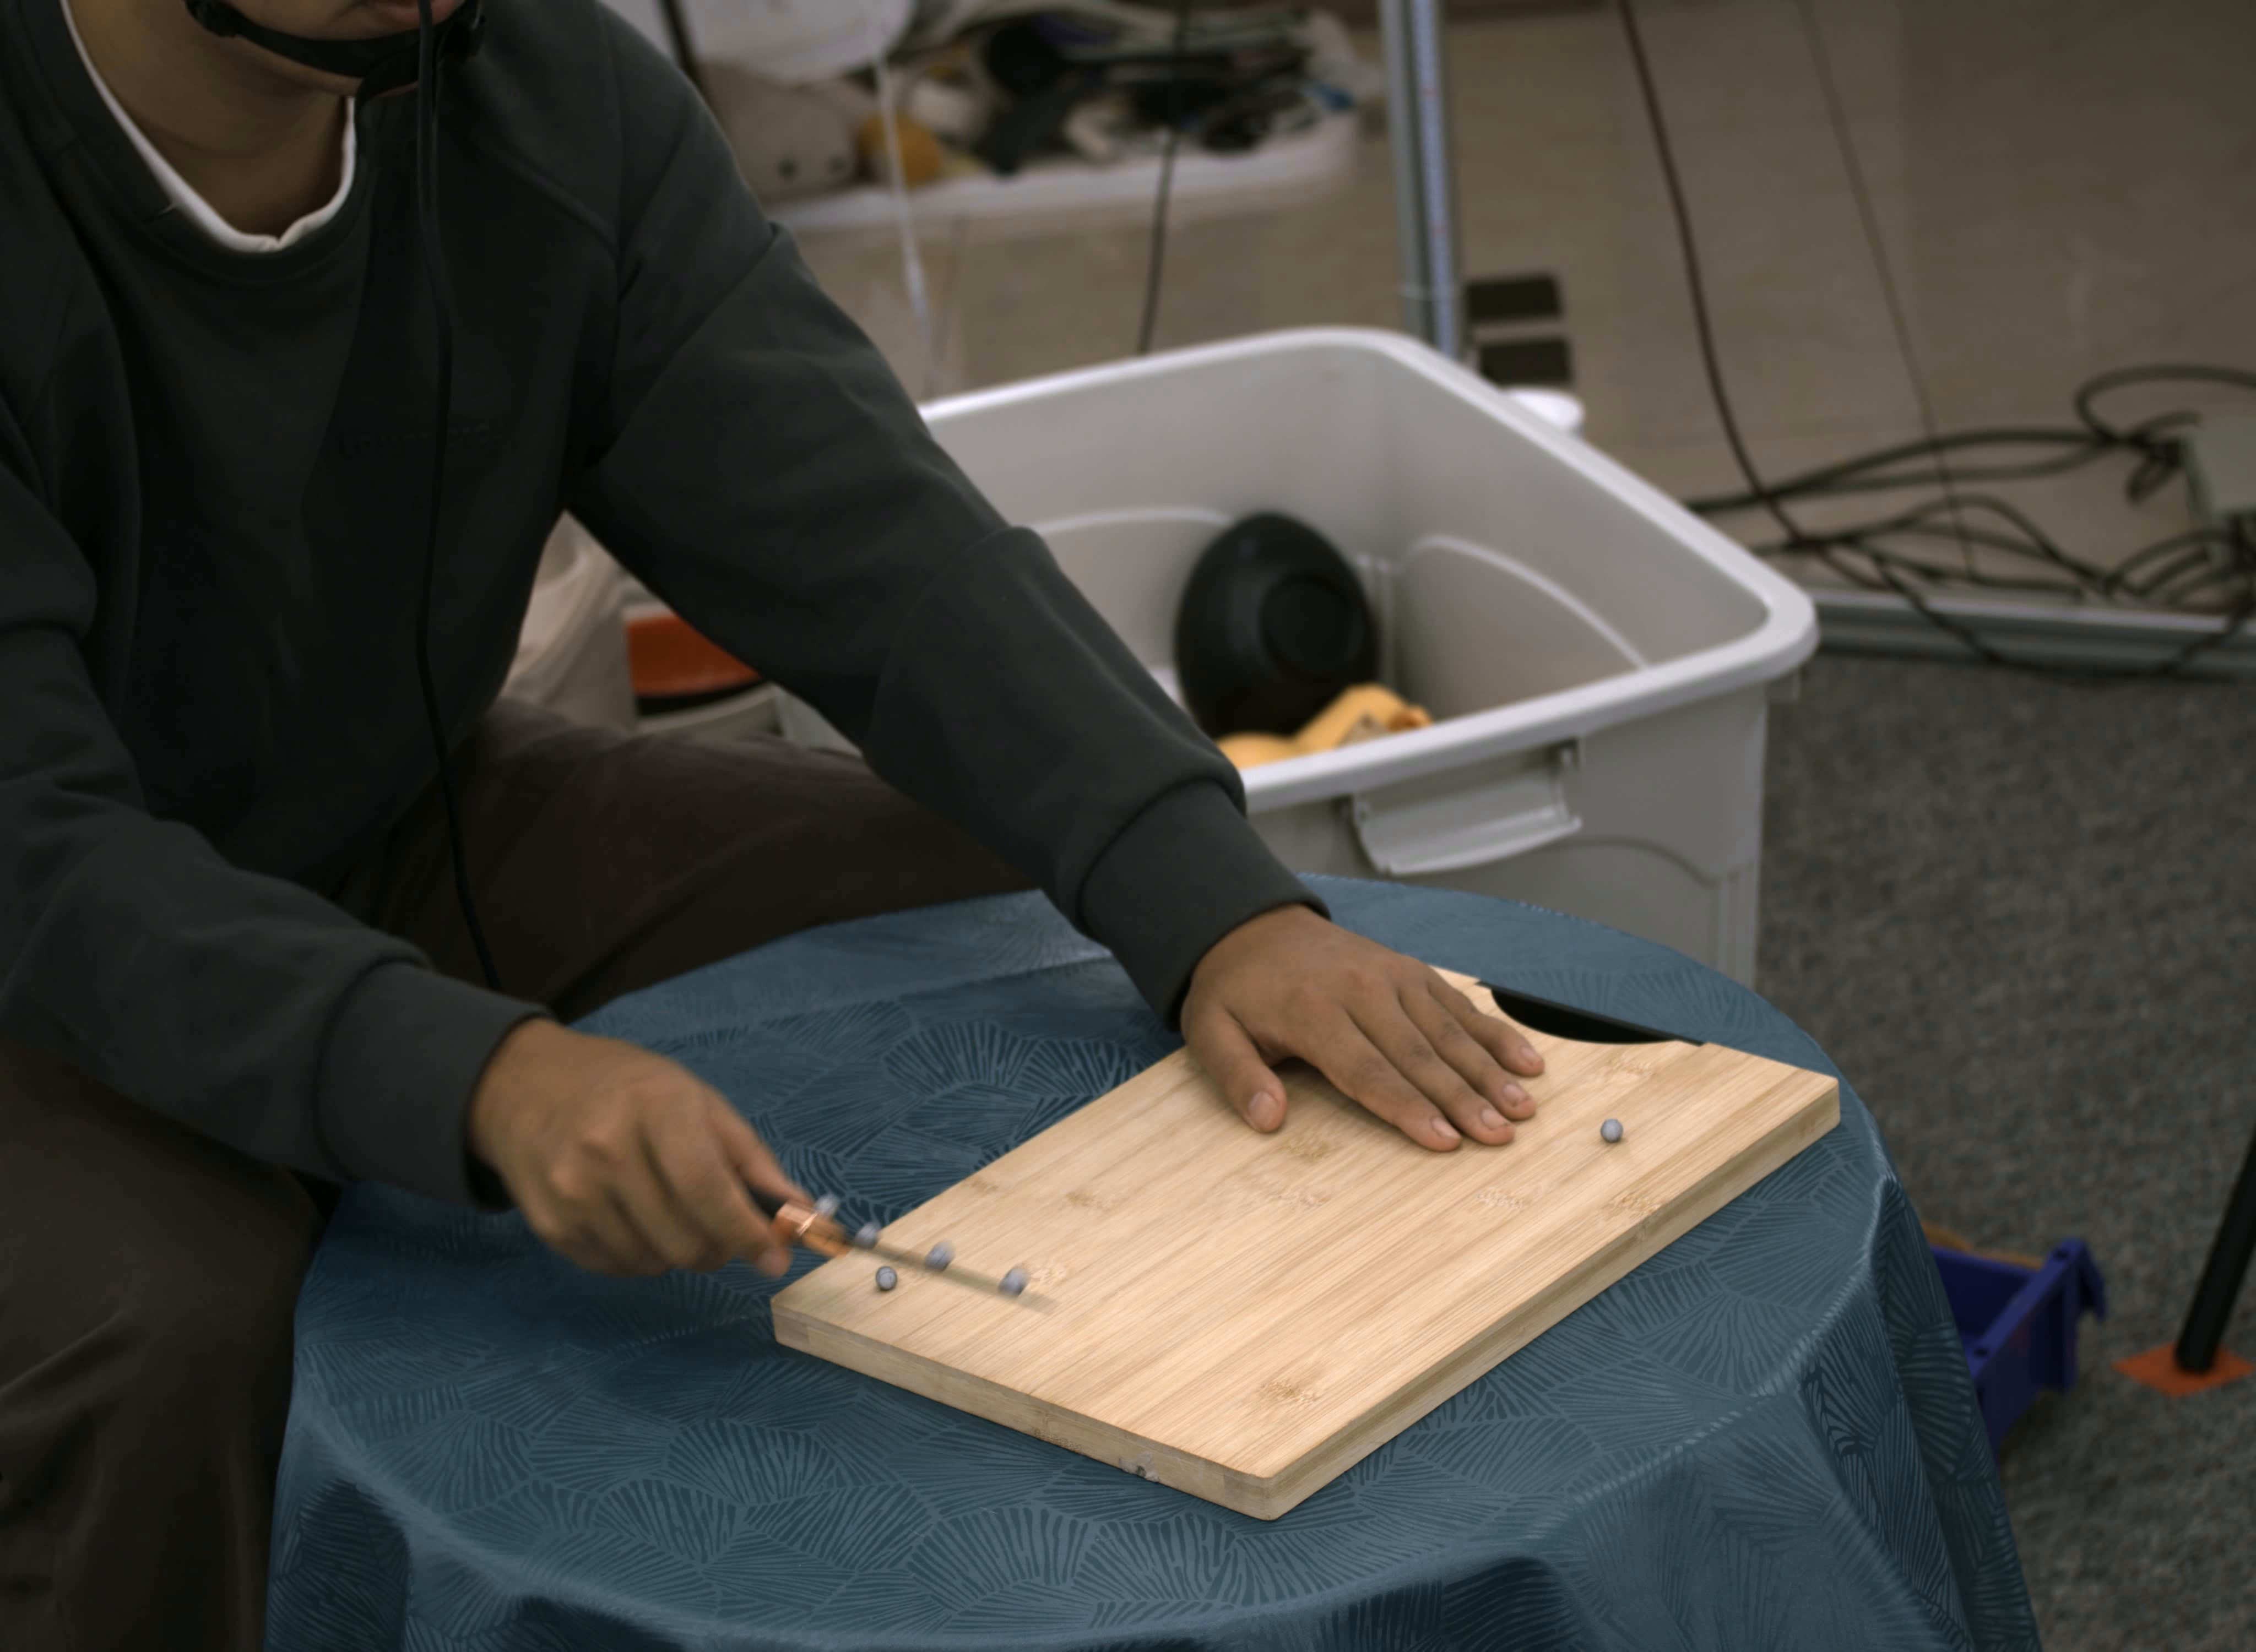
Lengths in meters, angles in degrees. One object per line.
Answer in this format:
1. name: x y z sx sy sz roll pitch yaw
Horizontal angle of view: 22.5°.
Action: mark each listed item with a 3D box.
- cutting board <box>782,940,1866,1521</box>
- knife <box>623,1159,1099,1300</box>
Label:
1. cutting board: 0.074 0.141 2.106 0.249 0.024 0.345 15 32 39
2. knife: -0.098 0.144 2.023 0.224 0.026 0.017 10 73 40
